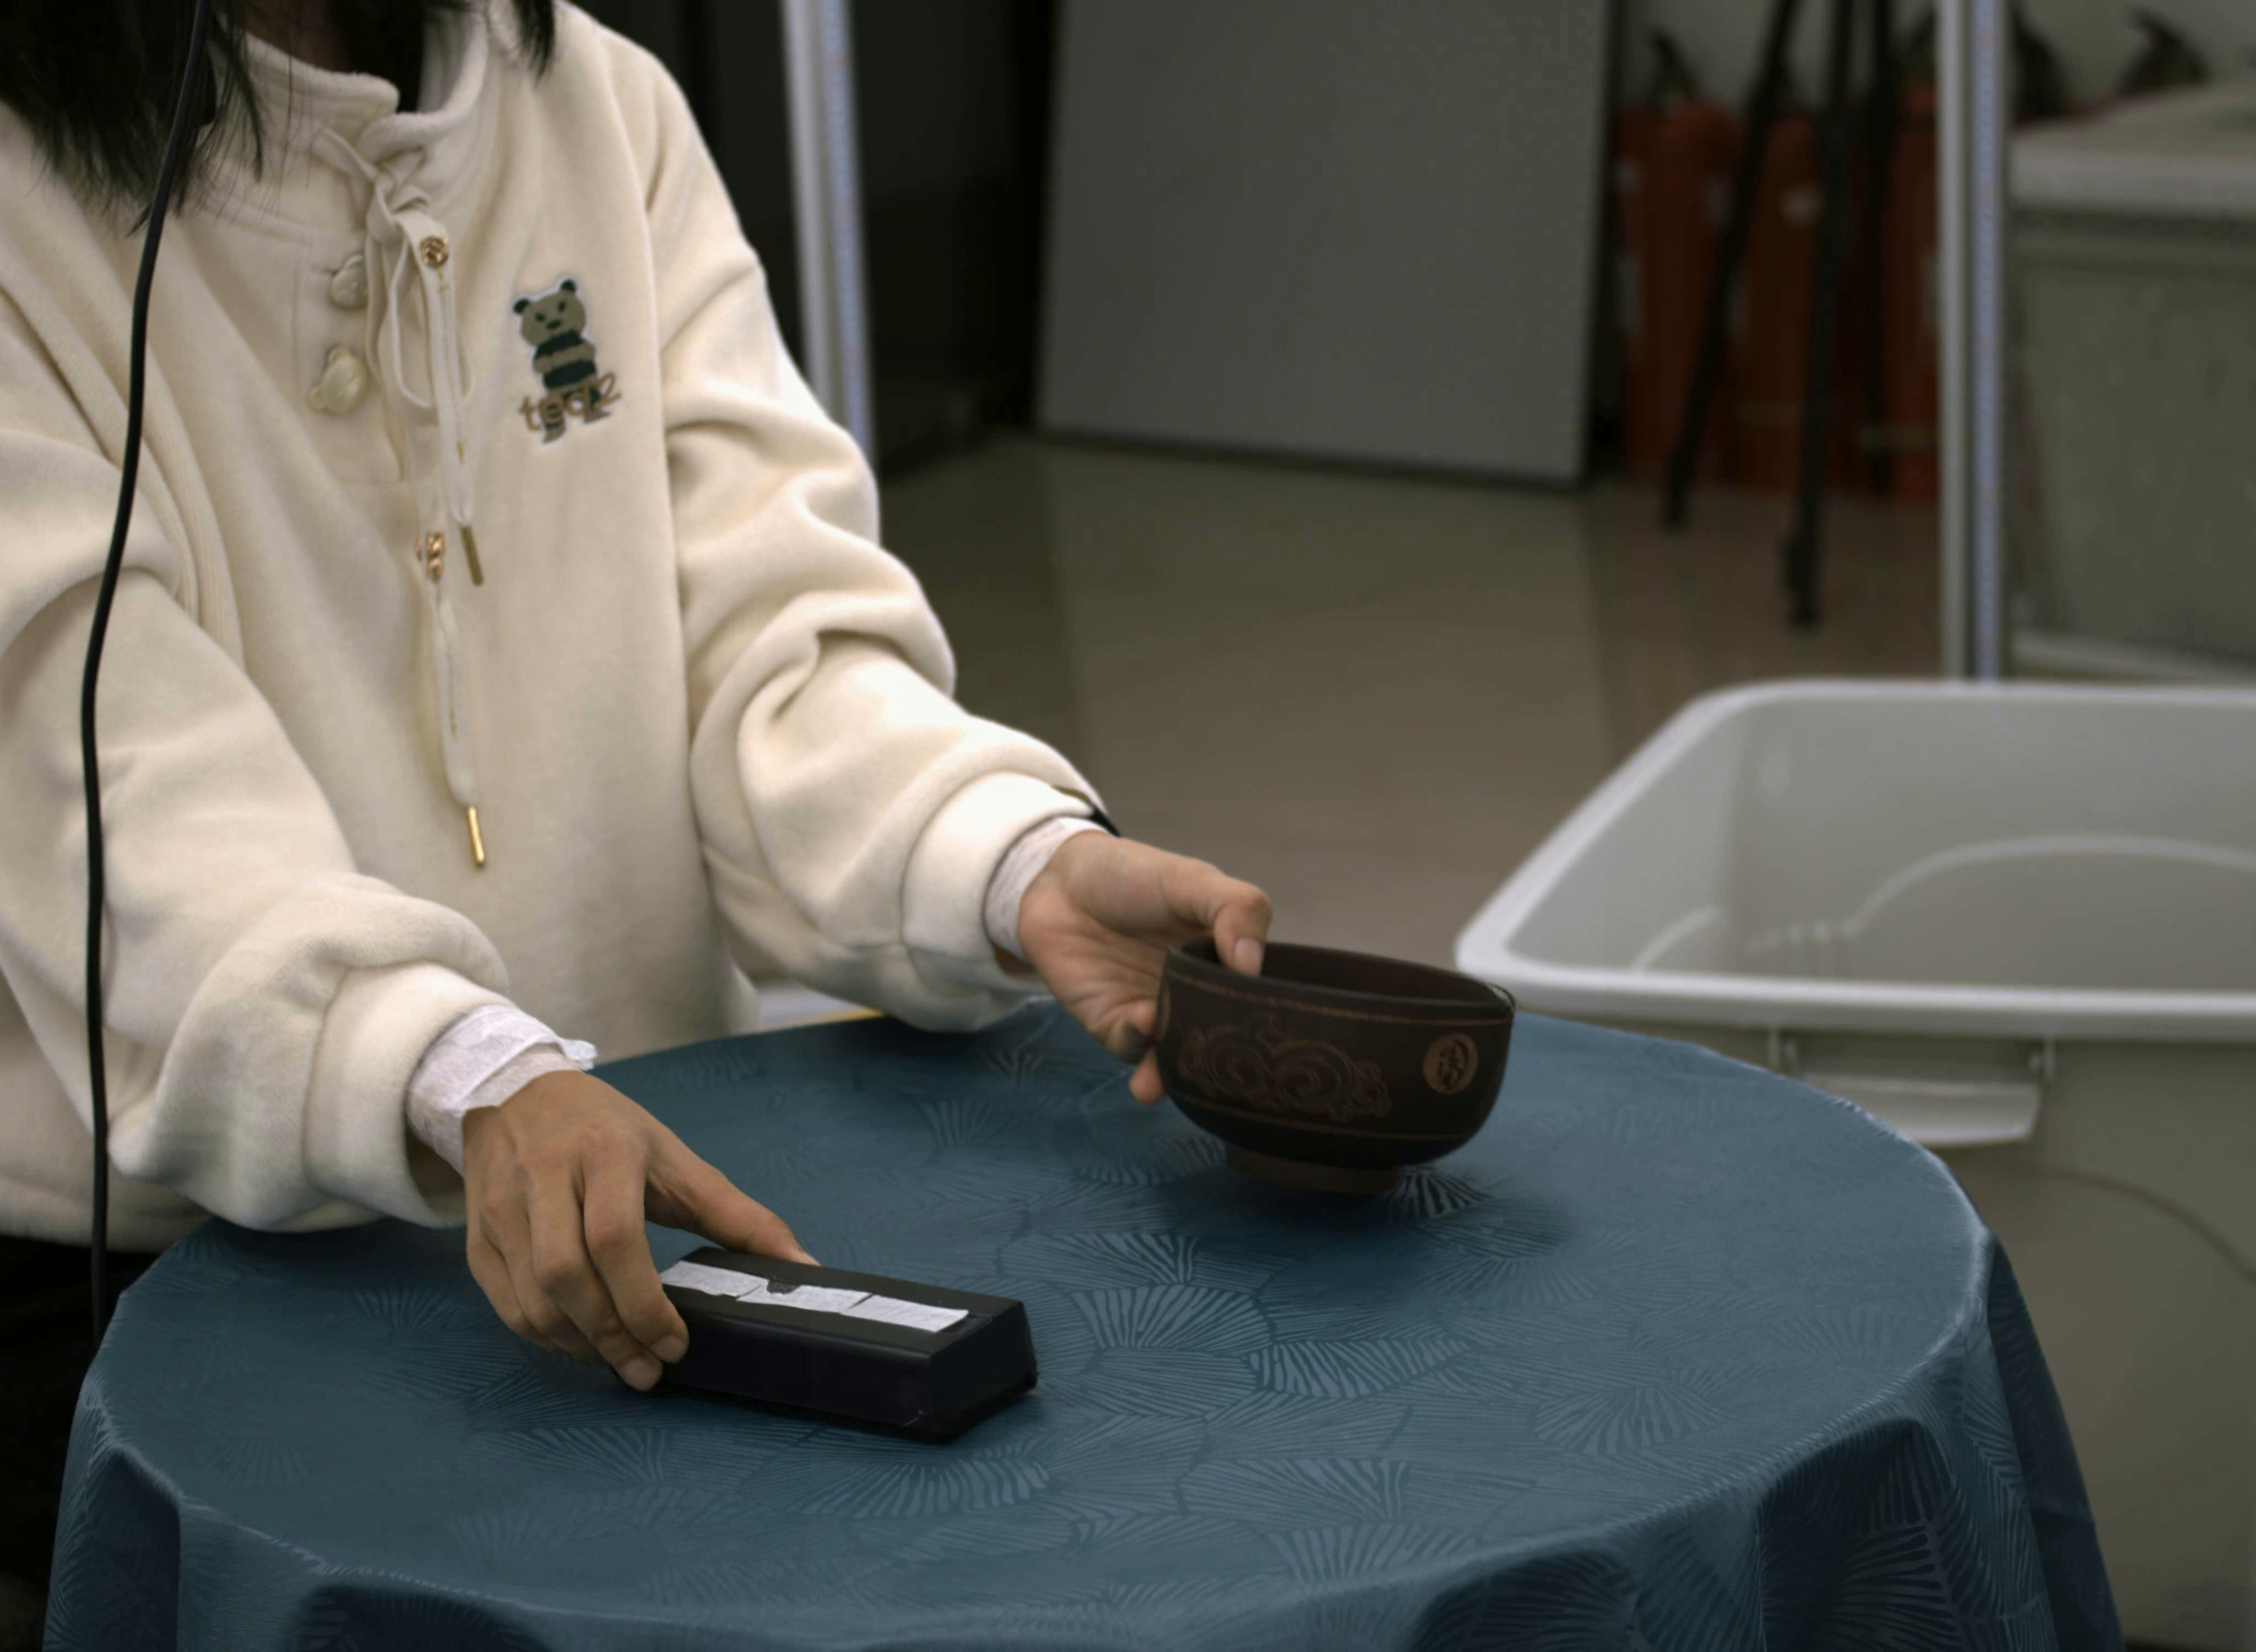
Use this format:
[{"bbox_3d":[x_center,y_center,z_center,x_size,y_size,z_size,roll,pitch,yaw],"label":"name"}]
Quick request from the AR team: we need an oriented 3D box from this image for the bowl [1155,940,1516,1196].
[{"bbox_3d":[0.065,0.080,1.736,0.116,0.071,0.118,5,6,-1],"label":"bowl"}]

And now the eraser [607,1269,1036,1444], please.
[{"bbox_3d":[-0.090,0.156,1.598,0.126,0.031,0.052,3,16,35],"label":"eraser"}]
